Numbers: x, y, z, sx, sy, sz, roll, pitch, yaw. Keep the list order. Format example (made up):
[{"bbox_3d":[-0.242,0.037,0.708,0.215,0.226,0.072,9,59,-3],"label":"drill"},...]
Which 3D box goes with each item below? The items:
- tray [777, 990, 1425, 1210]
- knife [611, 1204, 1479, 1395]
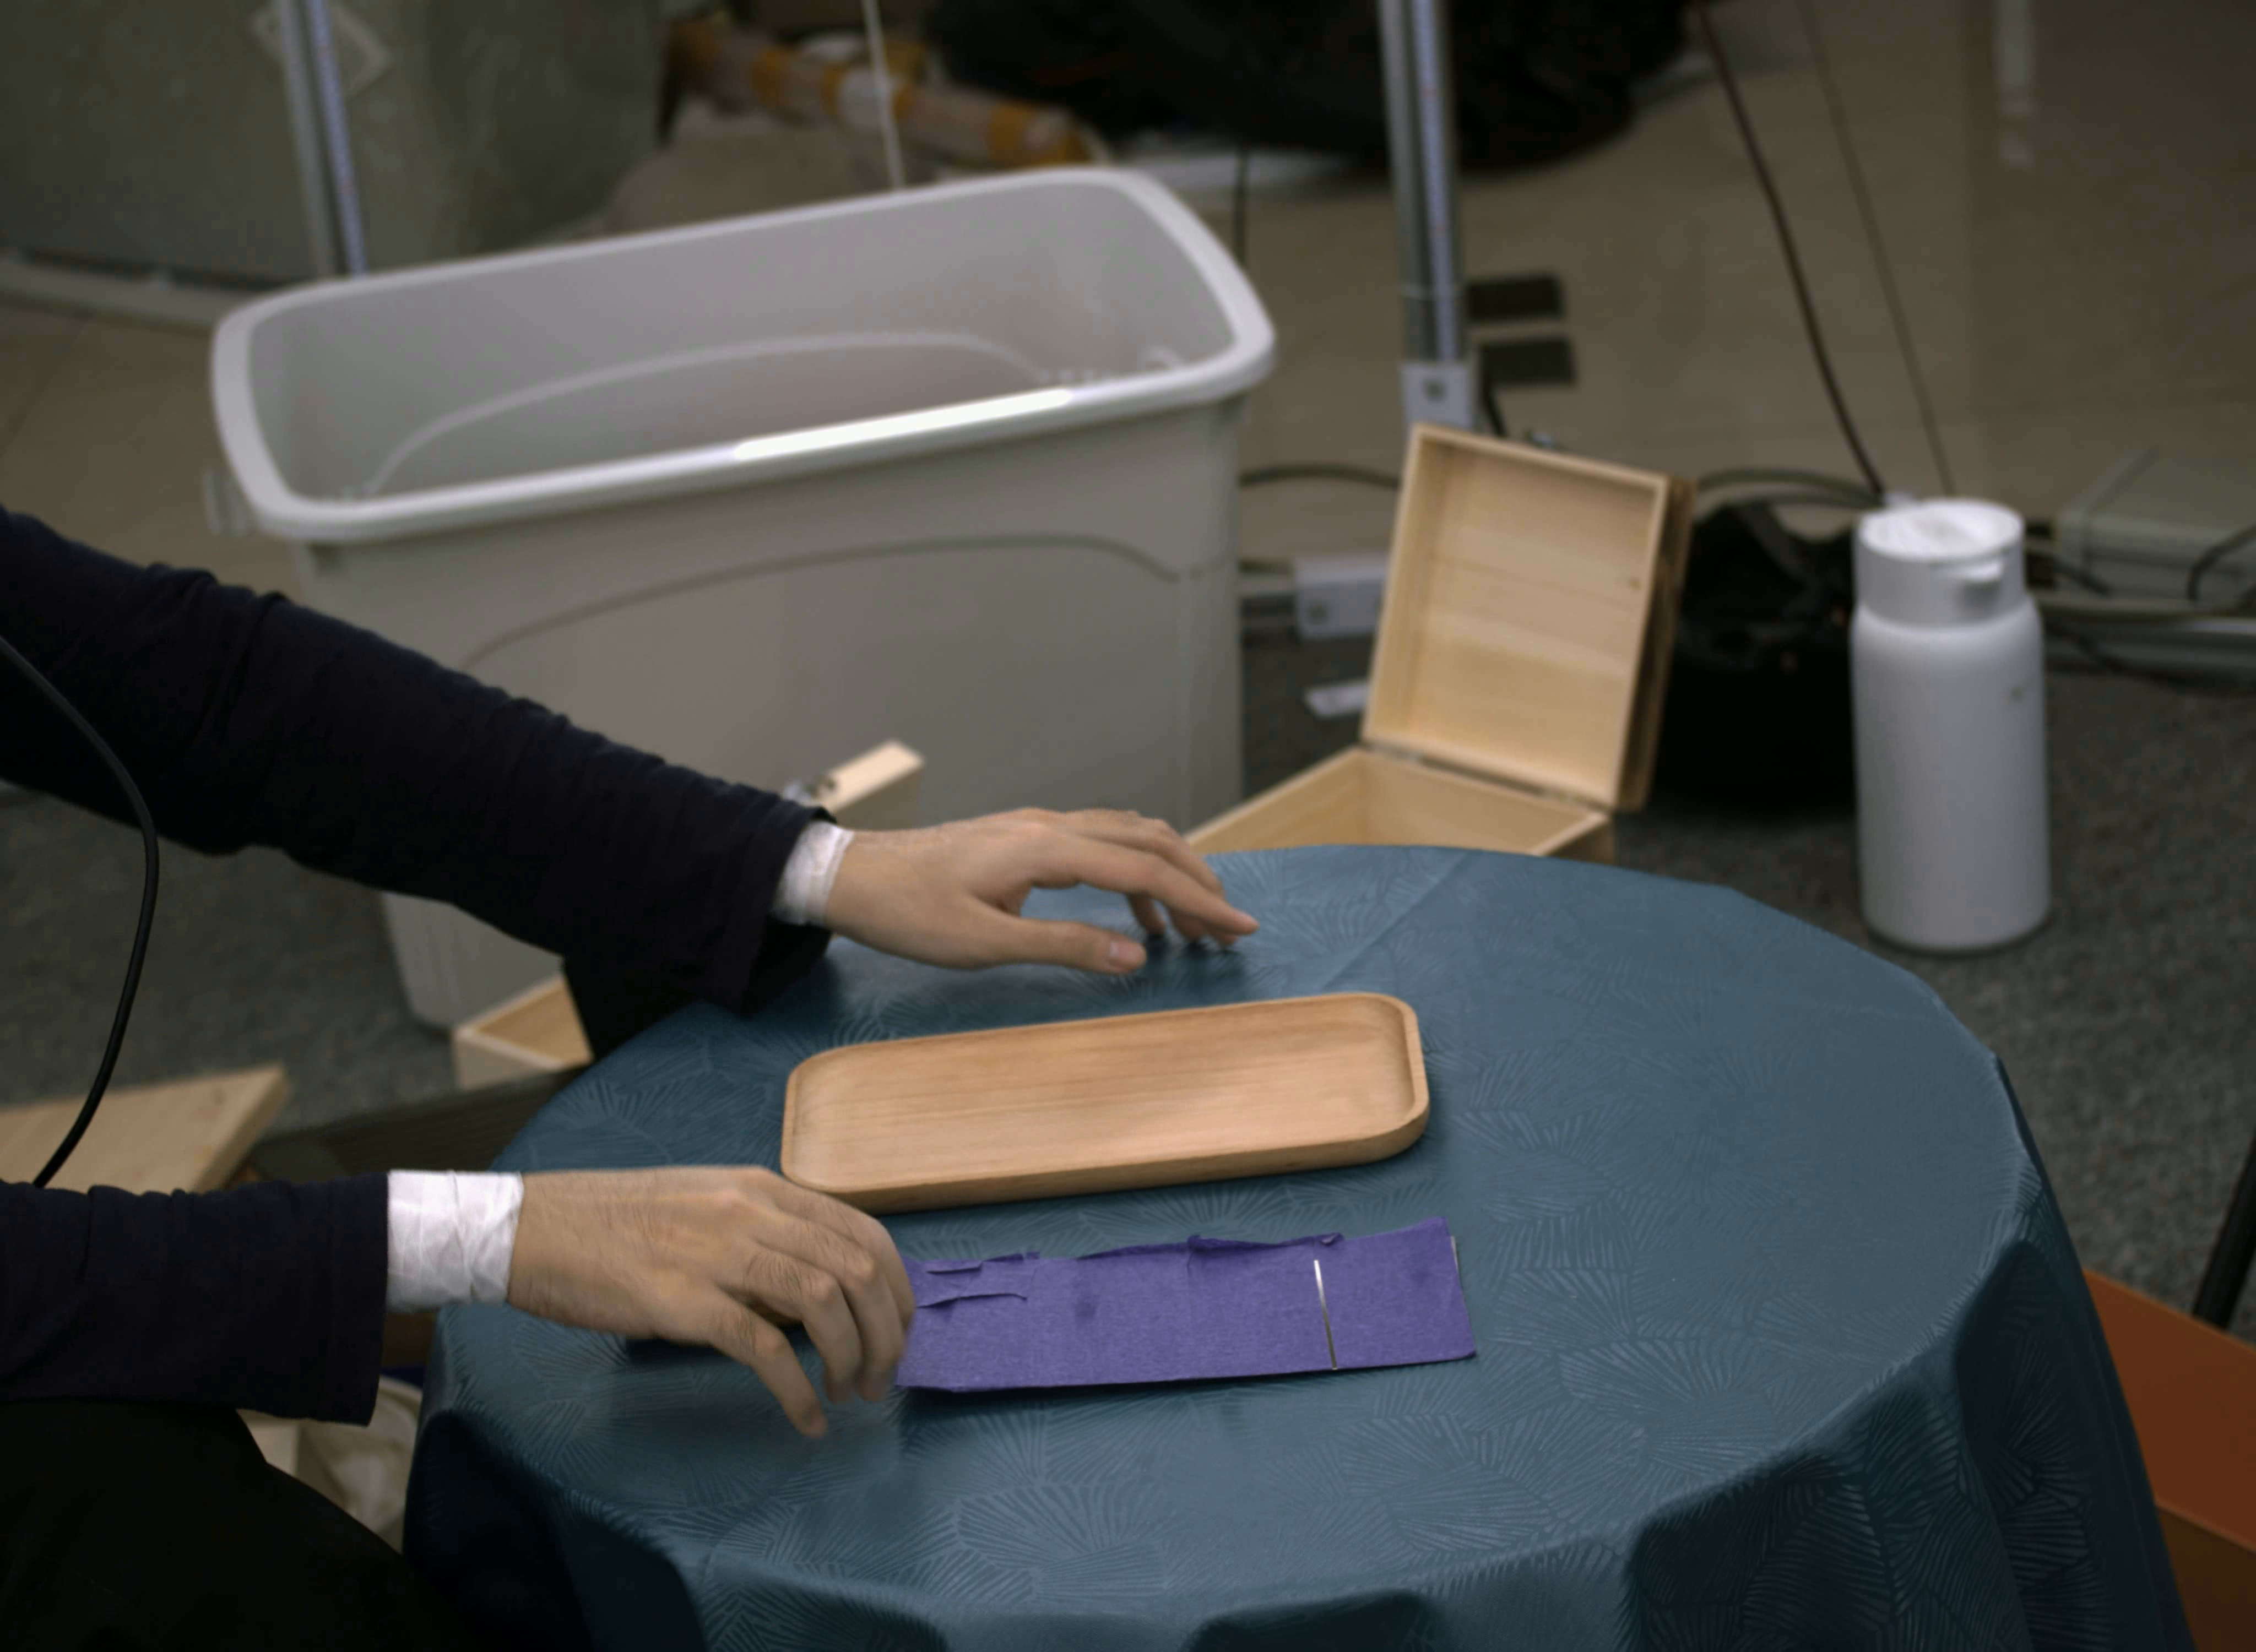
[{"bbox_3d":[-0.010,0.107,2.204,0.250,0.023,0.129,-6,22,5],"label":"tray"},{"bbox_3d":[-0.032,0.174,2.053,0.315,0.033,0.102,-6,25,1],"label":"knife"}]
